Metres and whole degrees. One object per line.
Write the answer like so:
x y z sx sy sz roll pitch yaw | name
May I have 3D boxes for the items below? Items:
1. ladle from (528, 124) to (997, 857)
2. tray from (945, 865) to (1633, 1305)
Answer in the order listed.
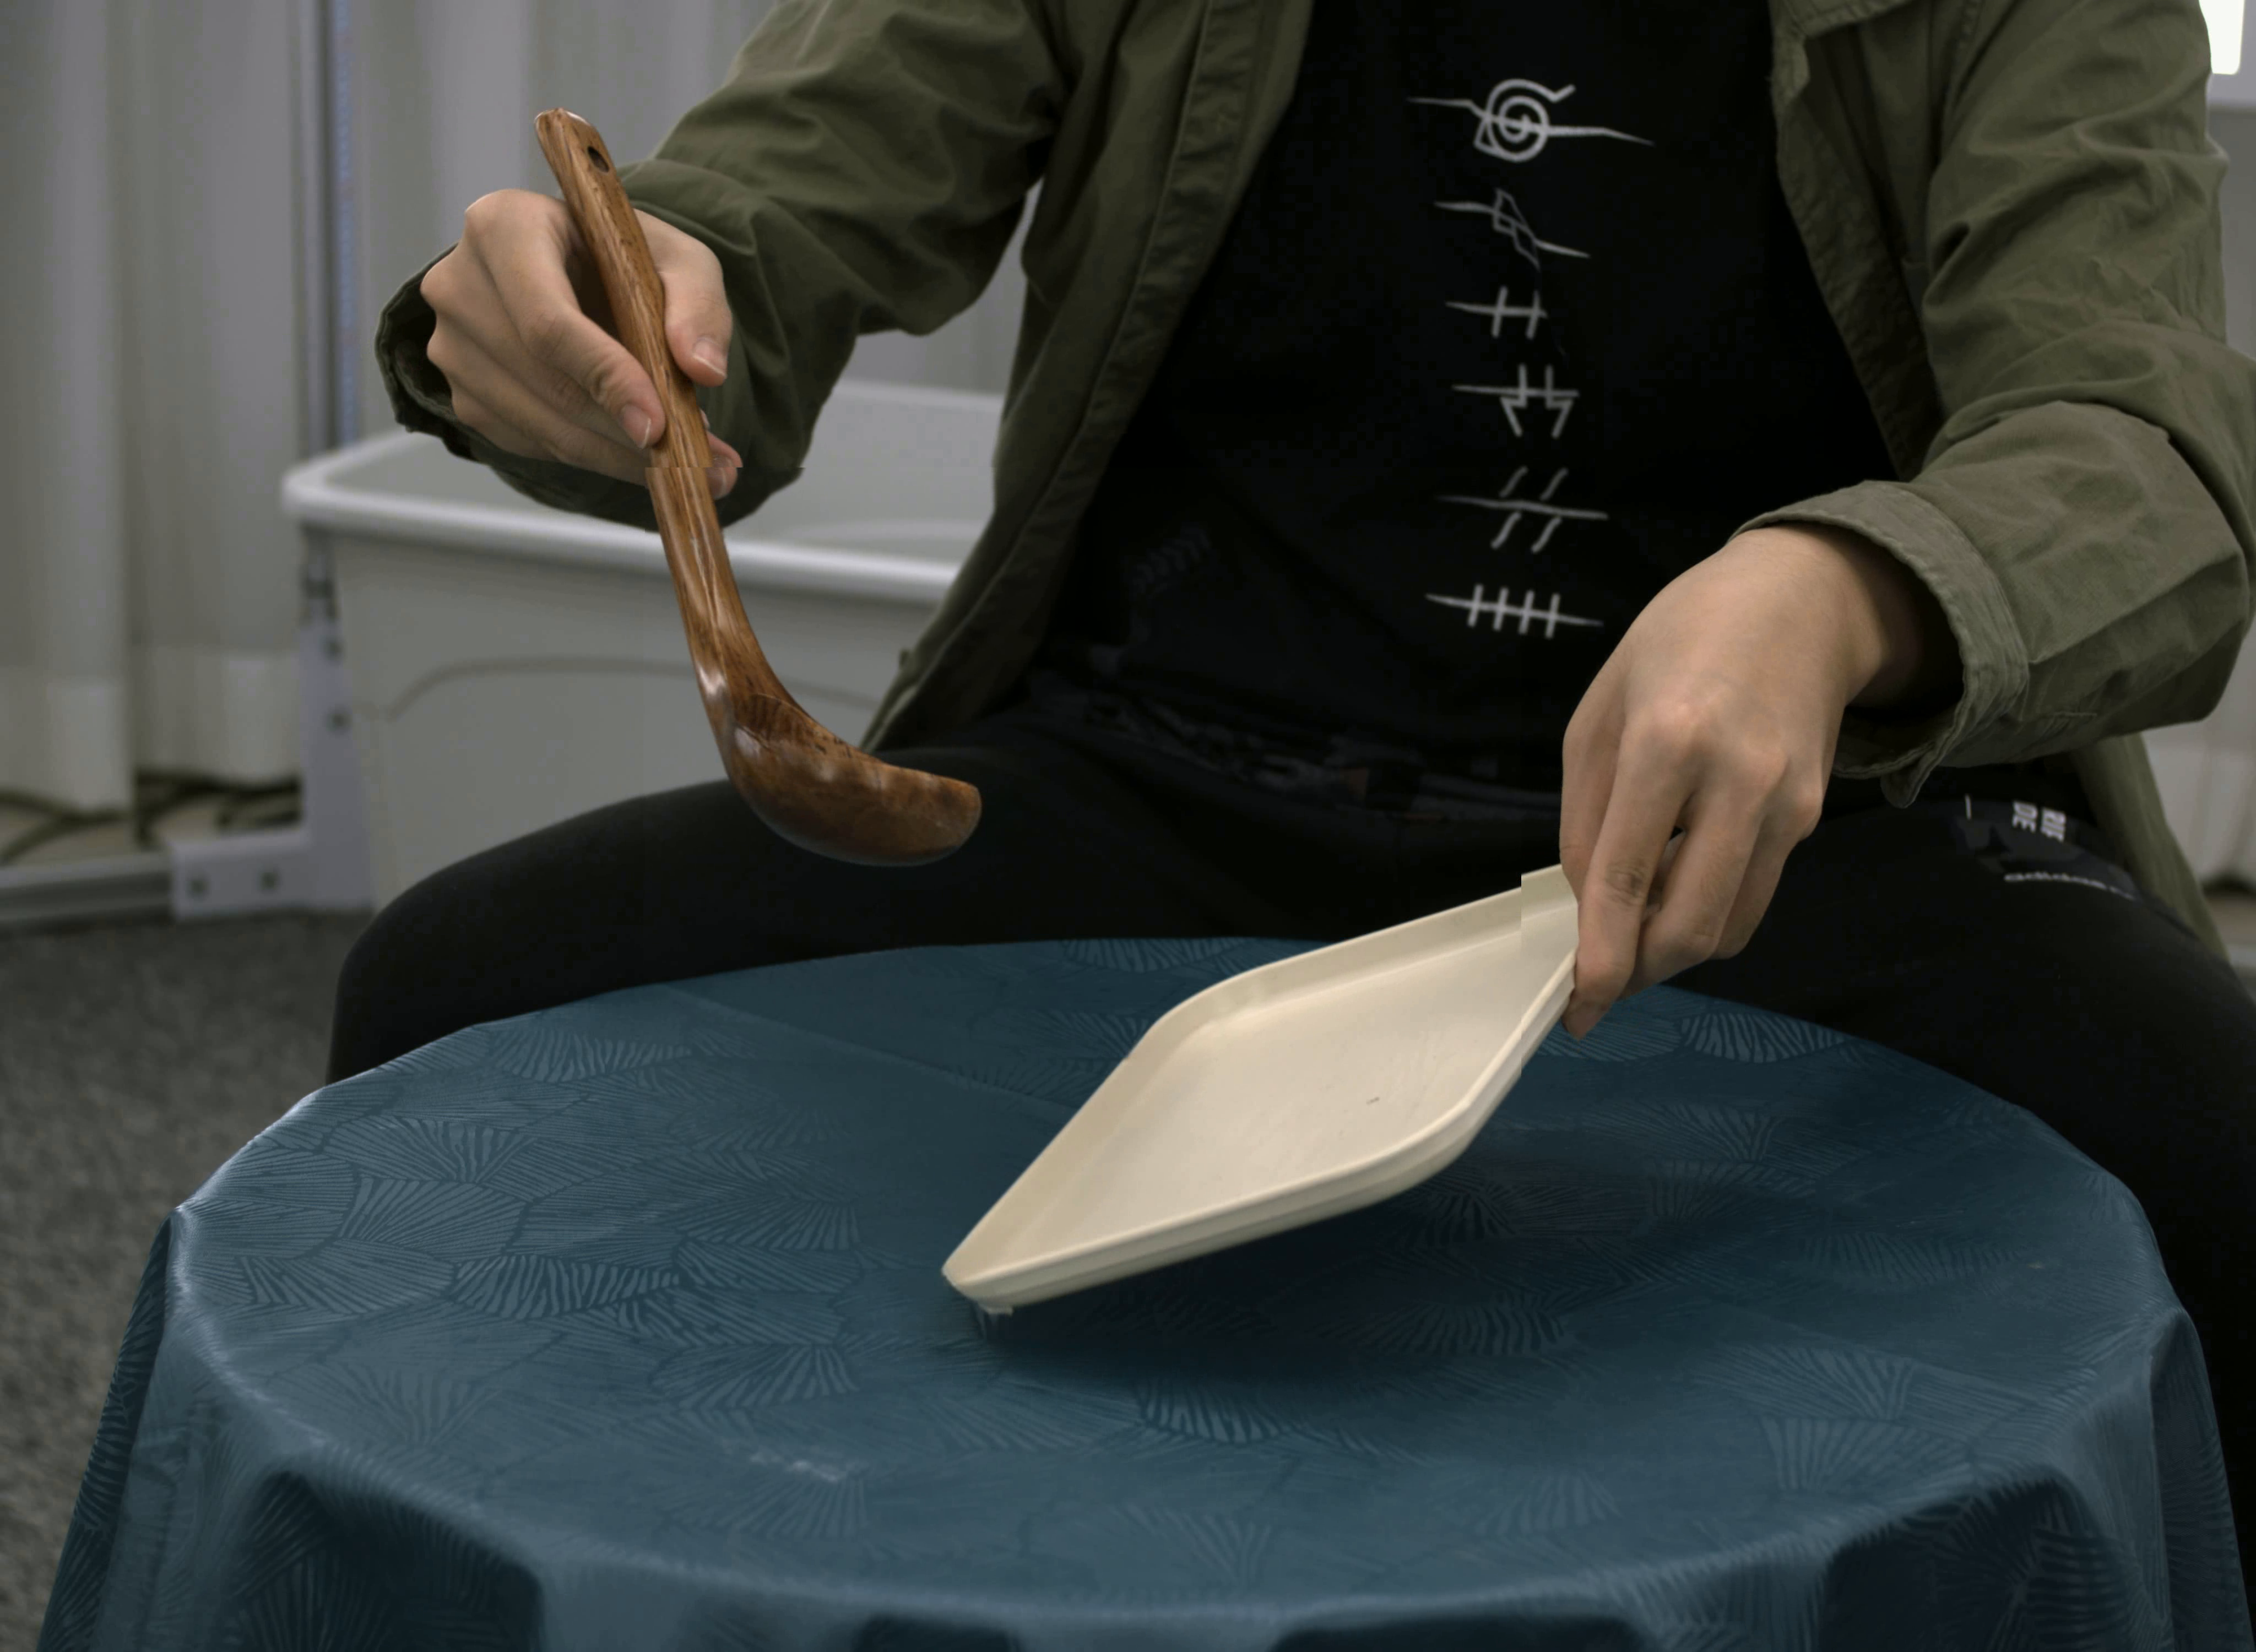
-0.113 -0.110 1.584 0.076 0.272 0.083 -26 -20 19 | ladle
0.053 0.076 1.562 0.170 0.017 0.239 -18 12 25 | tray
